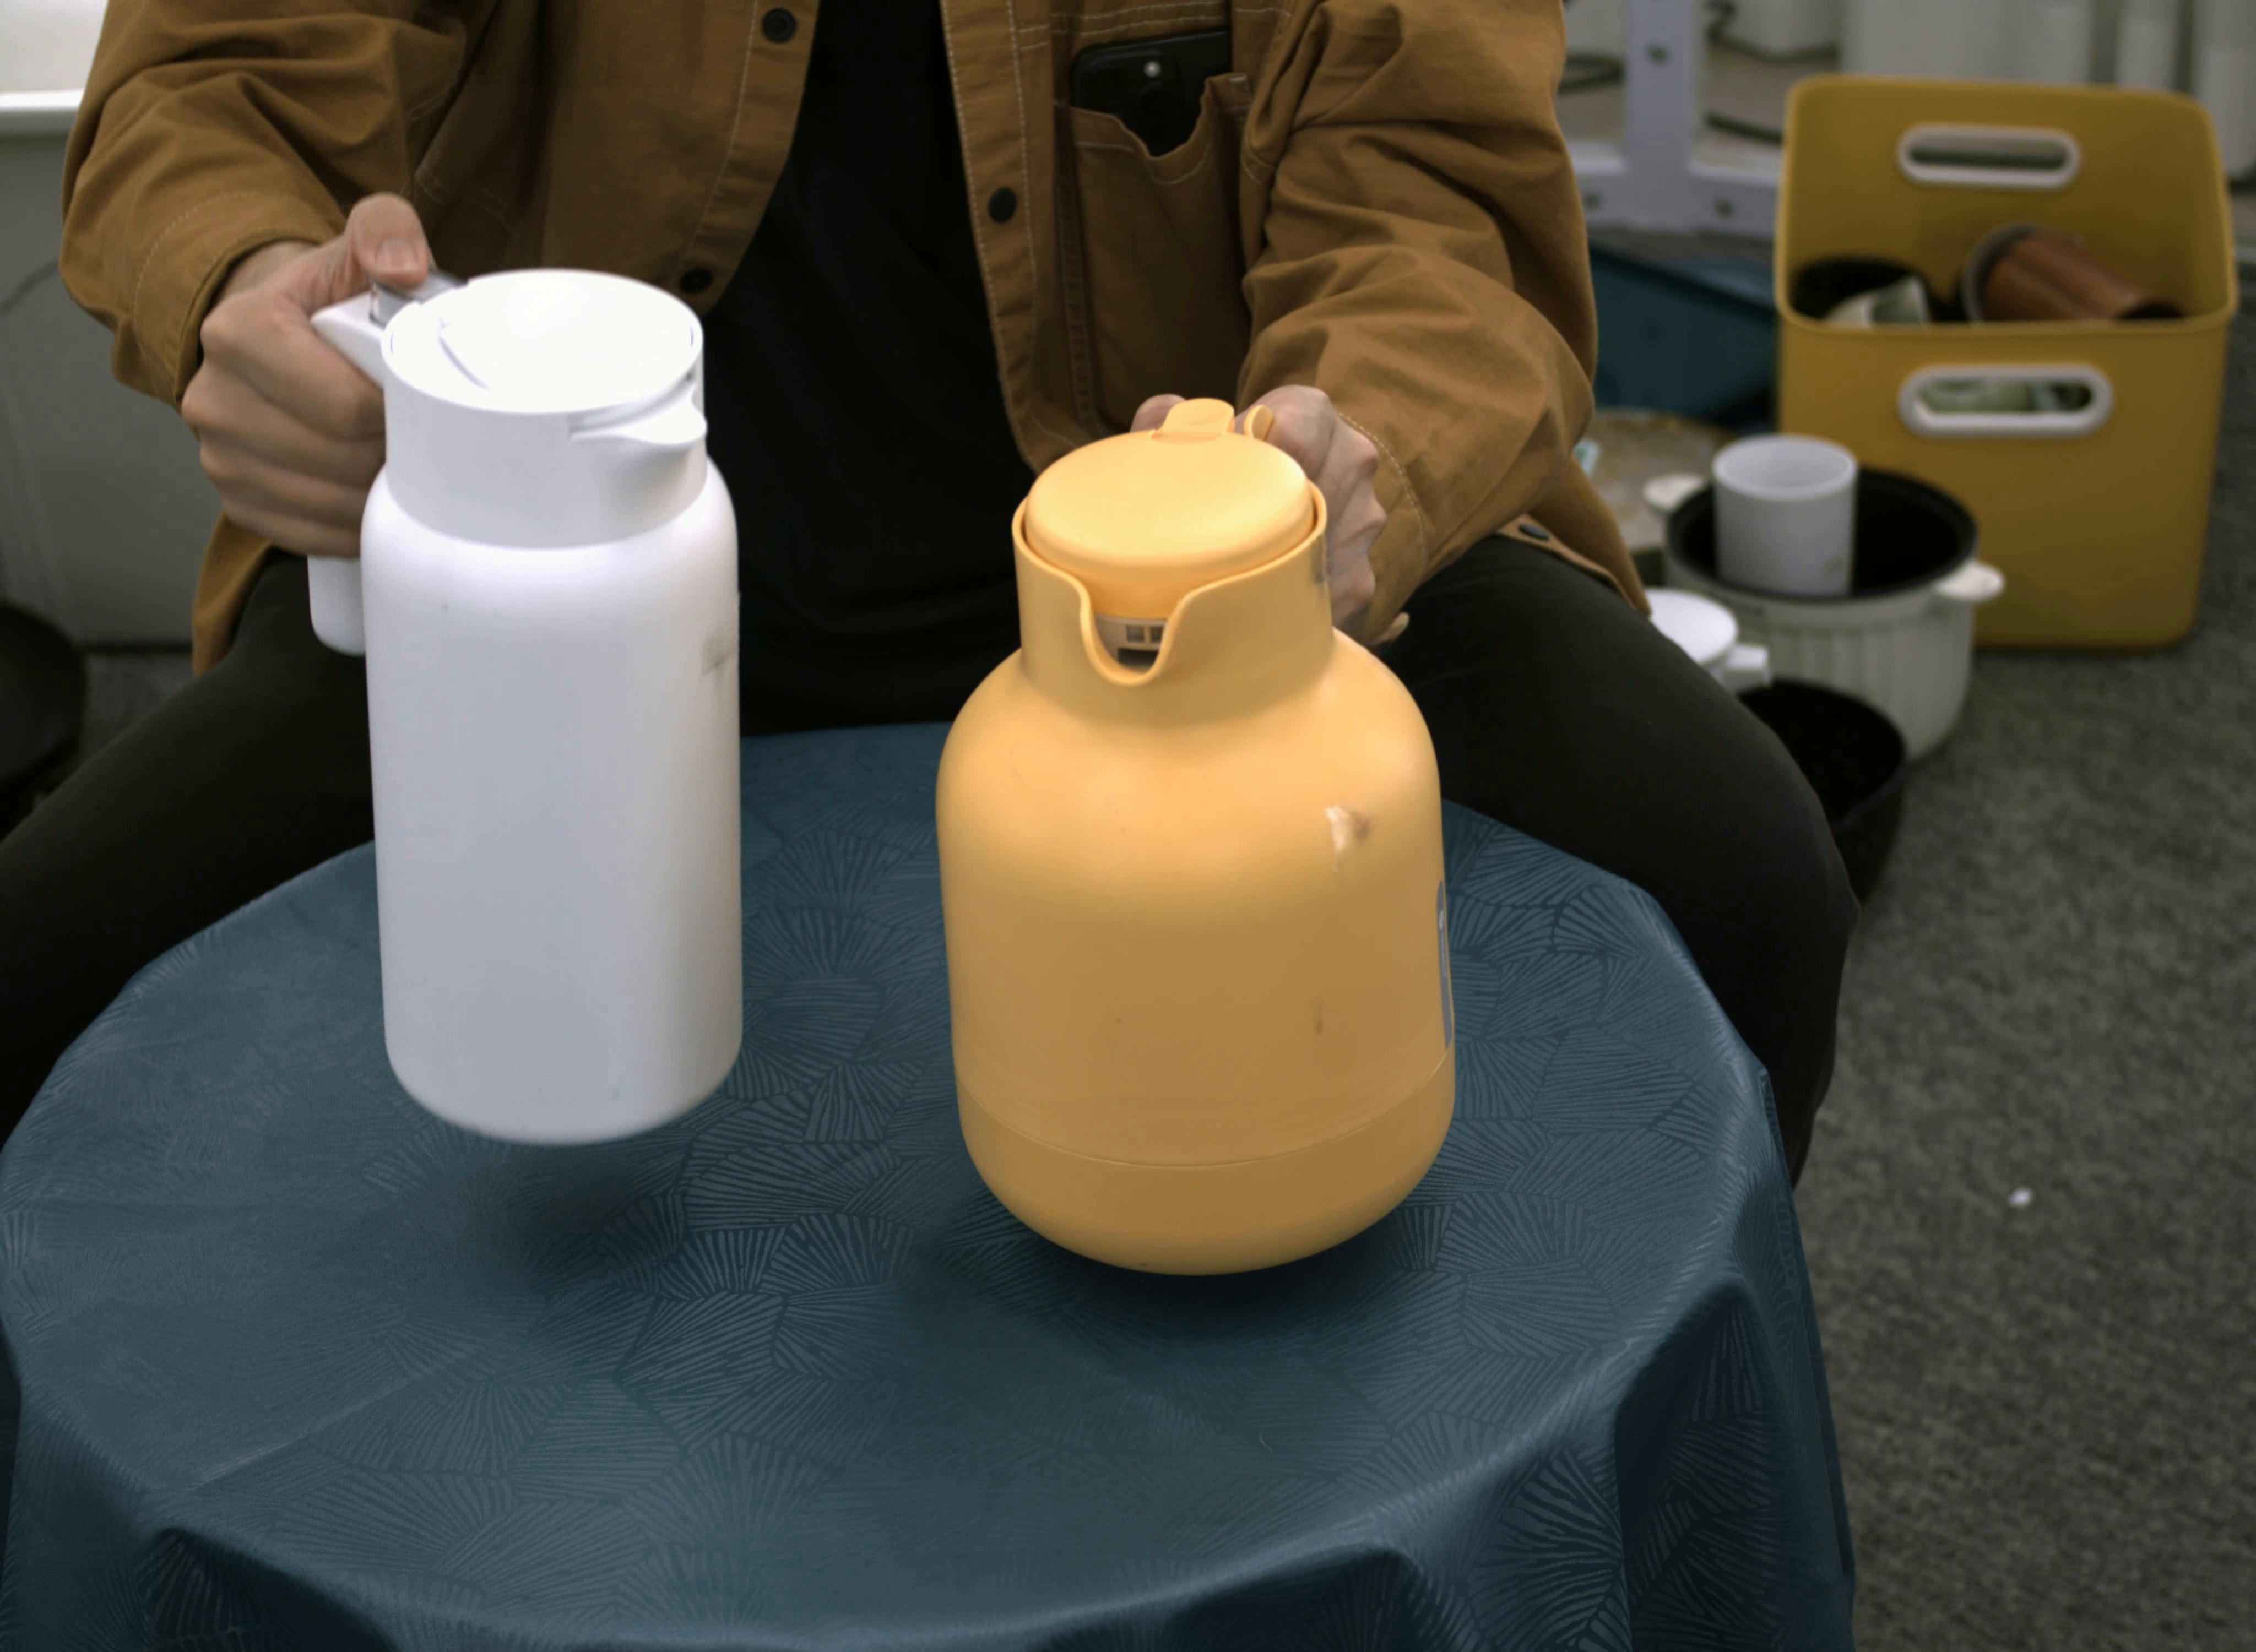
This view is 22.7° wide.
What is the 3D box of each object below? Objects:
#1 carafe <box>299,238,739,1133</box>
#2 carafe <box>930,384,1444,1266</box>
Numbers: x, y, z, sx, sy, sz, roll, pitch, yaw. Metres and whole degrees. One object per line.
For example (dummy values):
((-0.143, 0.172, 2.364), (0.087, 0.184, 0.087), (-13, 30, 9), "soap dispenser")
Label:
((-0.196, -0.047, 1.790), (0.172, 0.265, 0.125), (25, 39, 35), "carafe")
((0.024, -0.010, 1.797), (0.162, 0.257, 0.206), (6, 32, 12), "carafe")
